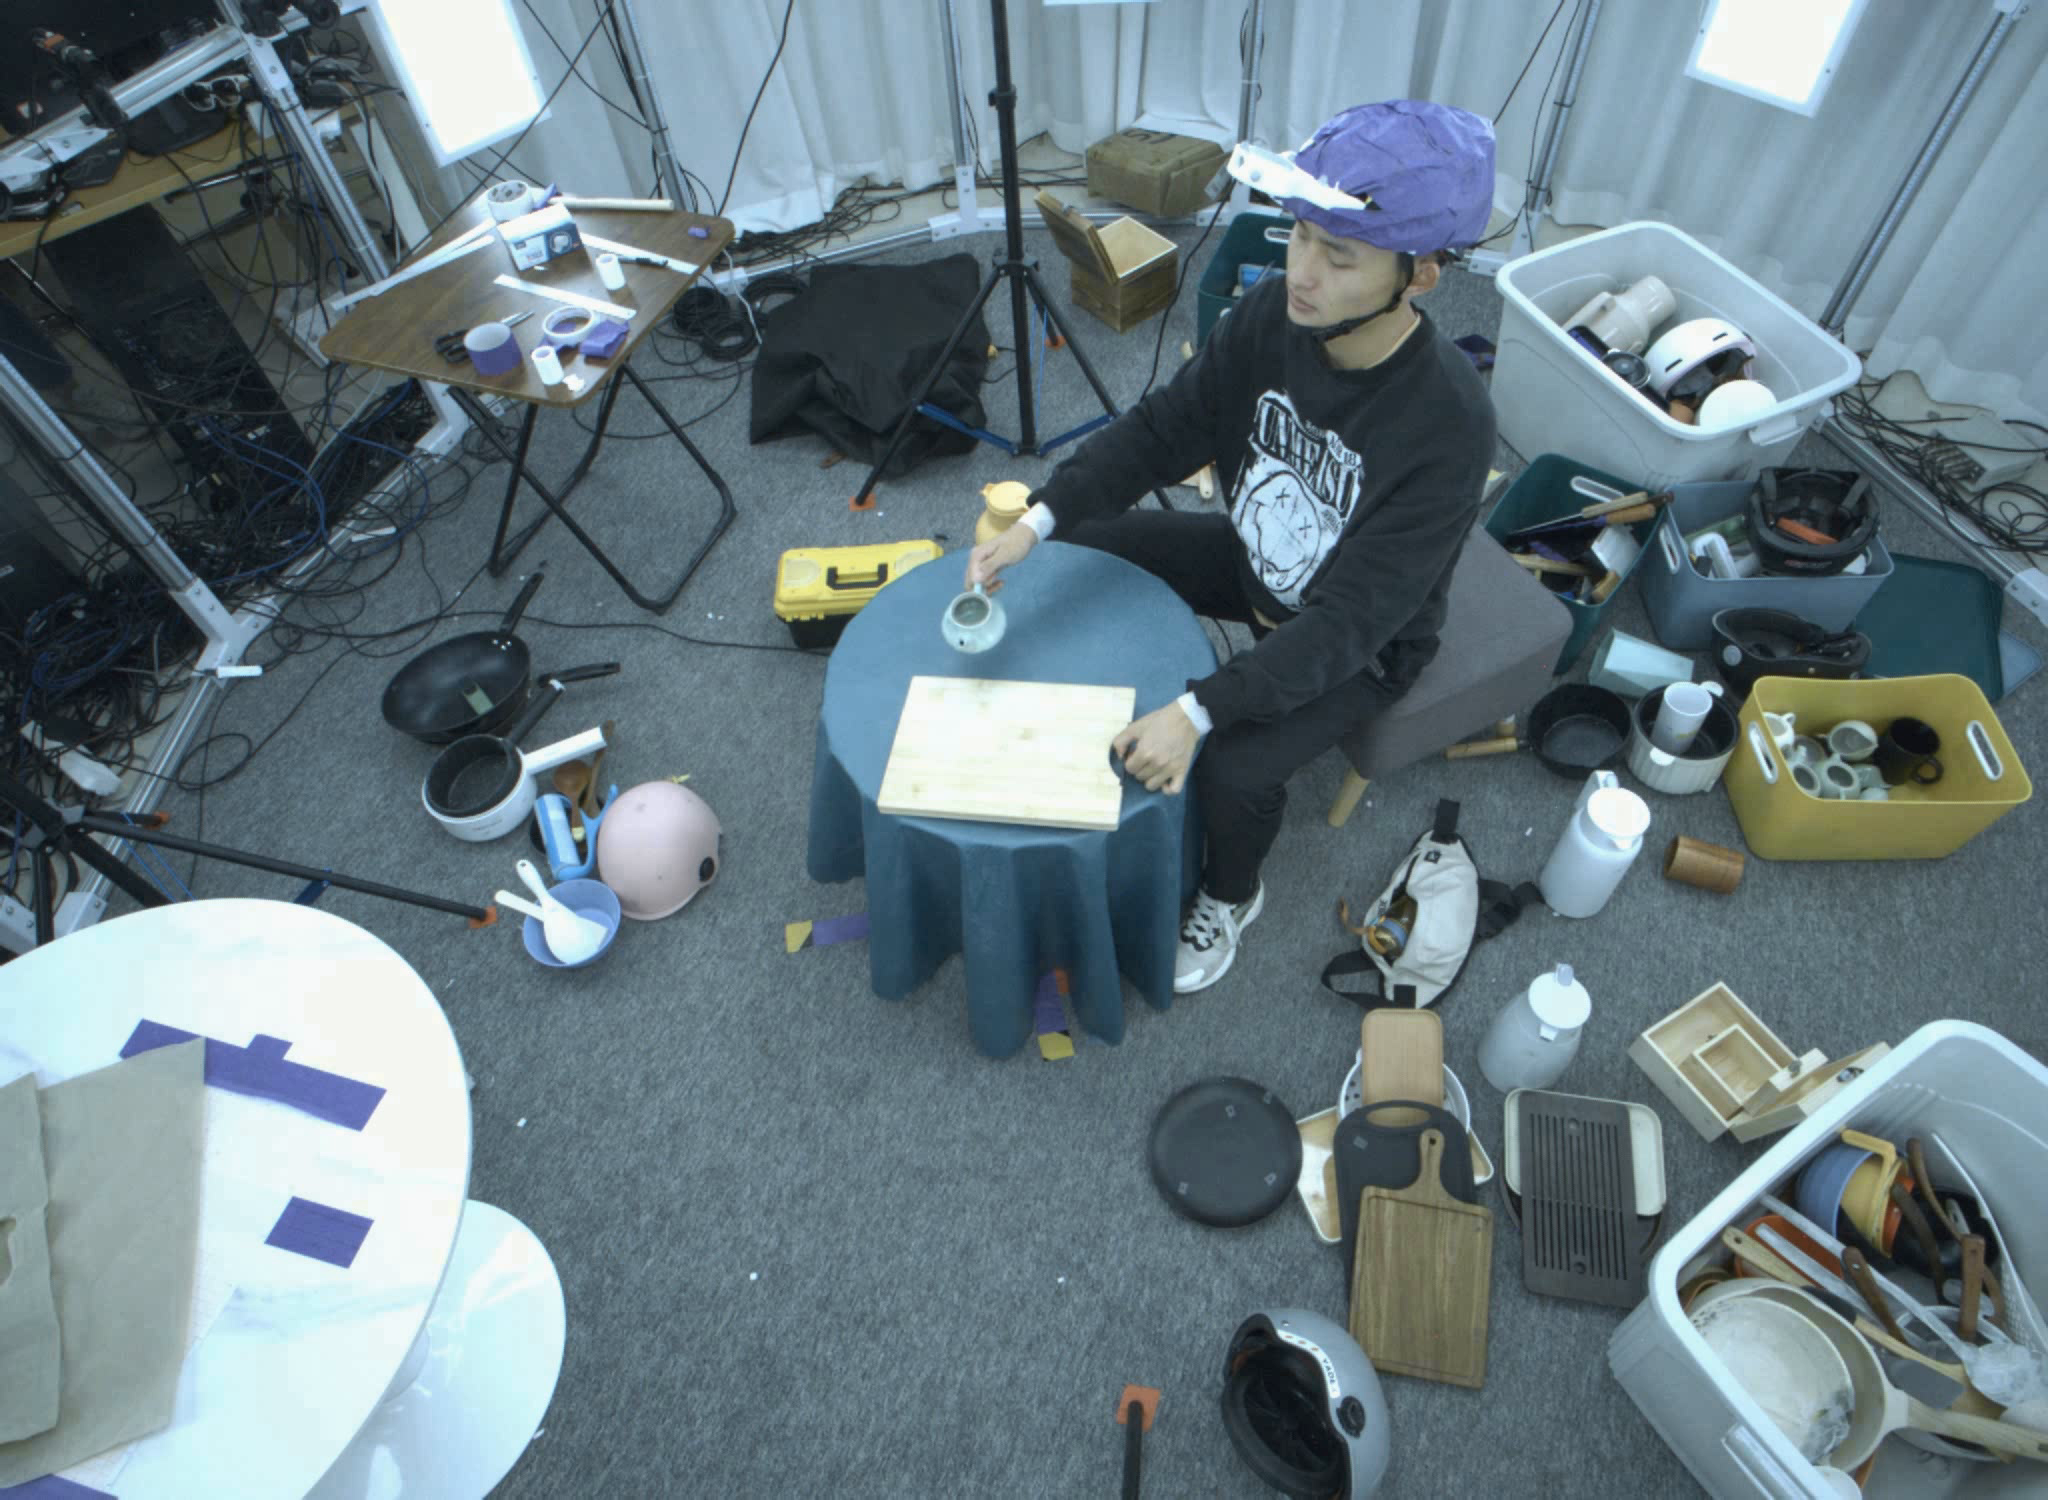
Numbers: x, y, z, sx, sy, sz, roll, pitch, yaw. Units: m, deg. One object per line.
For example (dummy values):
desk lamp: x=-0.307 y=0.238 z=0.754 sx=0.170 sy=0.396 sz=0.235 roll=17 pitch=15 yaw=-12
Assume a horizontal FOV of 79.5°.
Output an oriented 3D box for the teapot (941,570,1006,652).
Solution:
teapot: x=-0.075 y=-0.196 z=1.791 sx=0.095 sy=0.062 sz=0.136 roll=6 pitch=67 yaw=10

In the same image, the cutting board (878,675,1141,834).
cutting board: x=-0.016 y=0.000 z=1.764 sx=0.347 sy=0.024 sz=0.249 roll=3 pitch=55 yaw=8
